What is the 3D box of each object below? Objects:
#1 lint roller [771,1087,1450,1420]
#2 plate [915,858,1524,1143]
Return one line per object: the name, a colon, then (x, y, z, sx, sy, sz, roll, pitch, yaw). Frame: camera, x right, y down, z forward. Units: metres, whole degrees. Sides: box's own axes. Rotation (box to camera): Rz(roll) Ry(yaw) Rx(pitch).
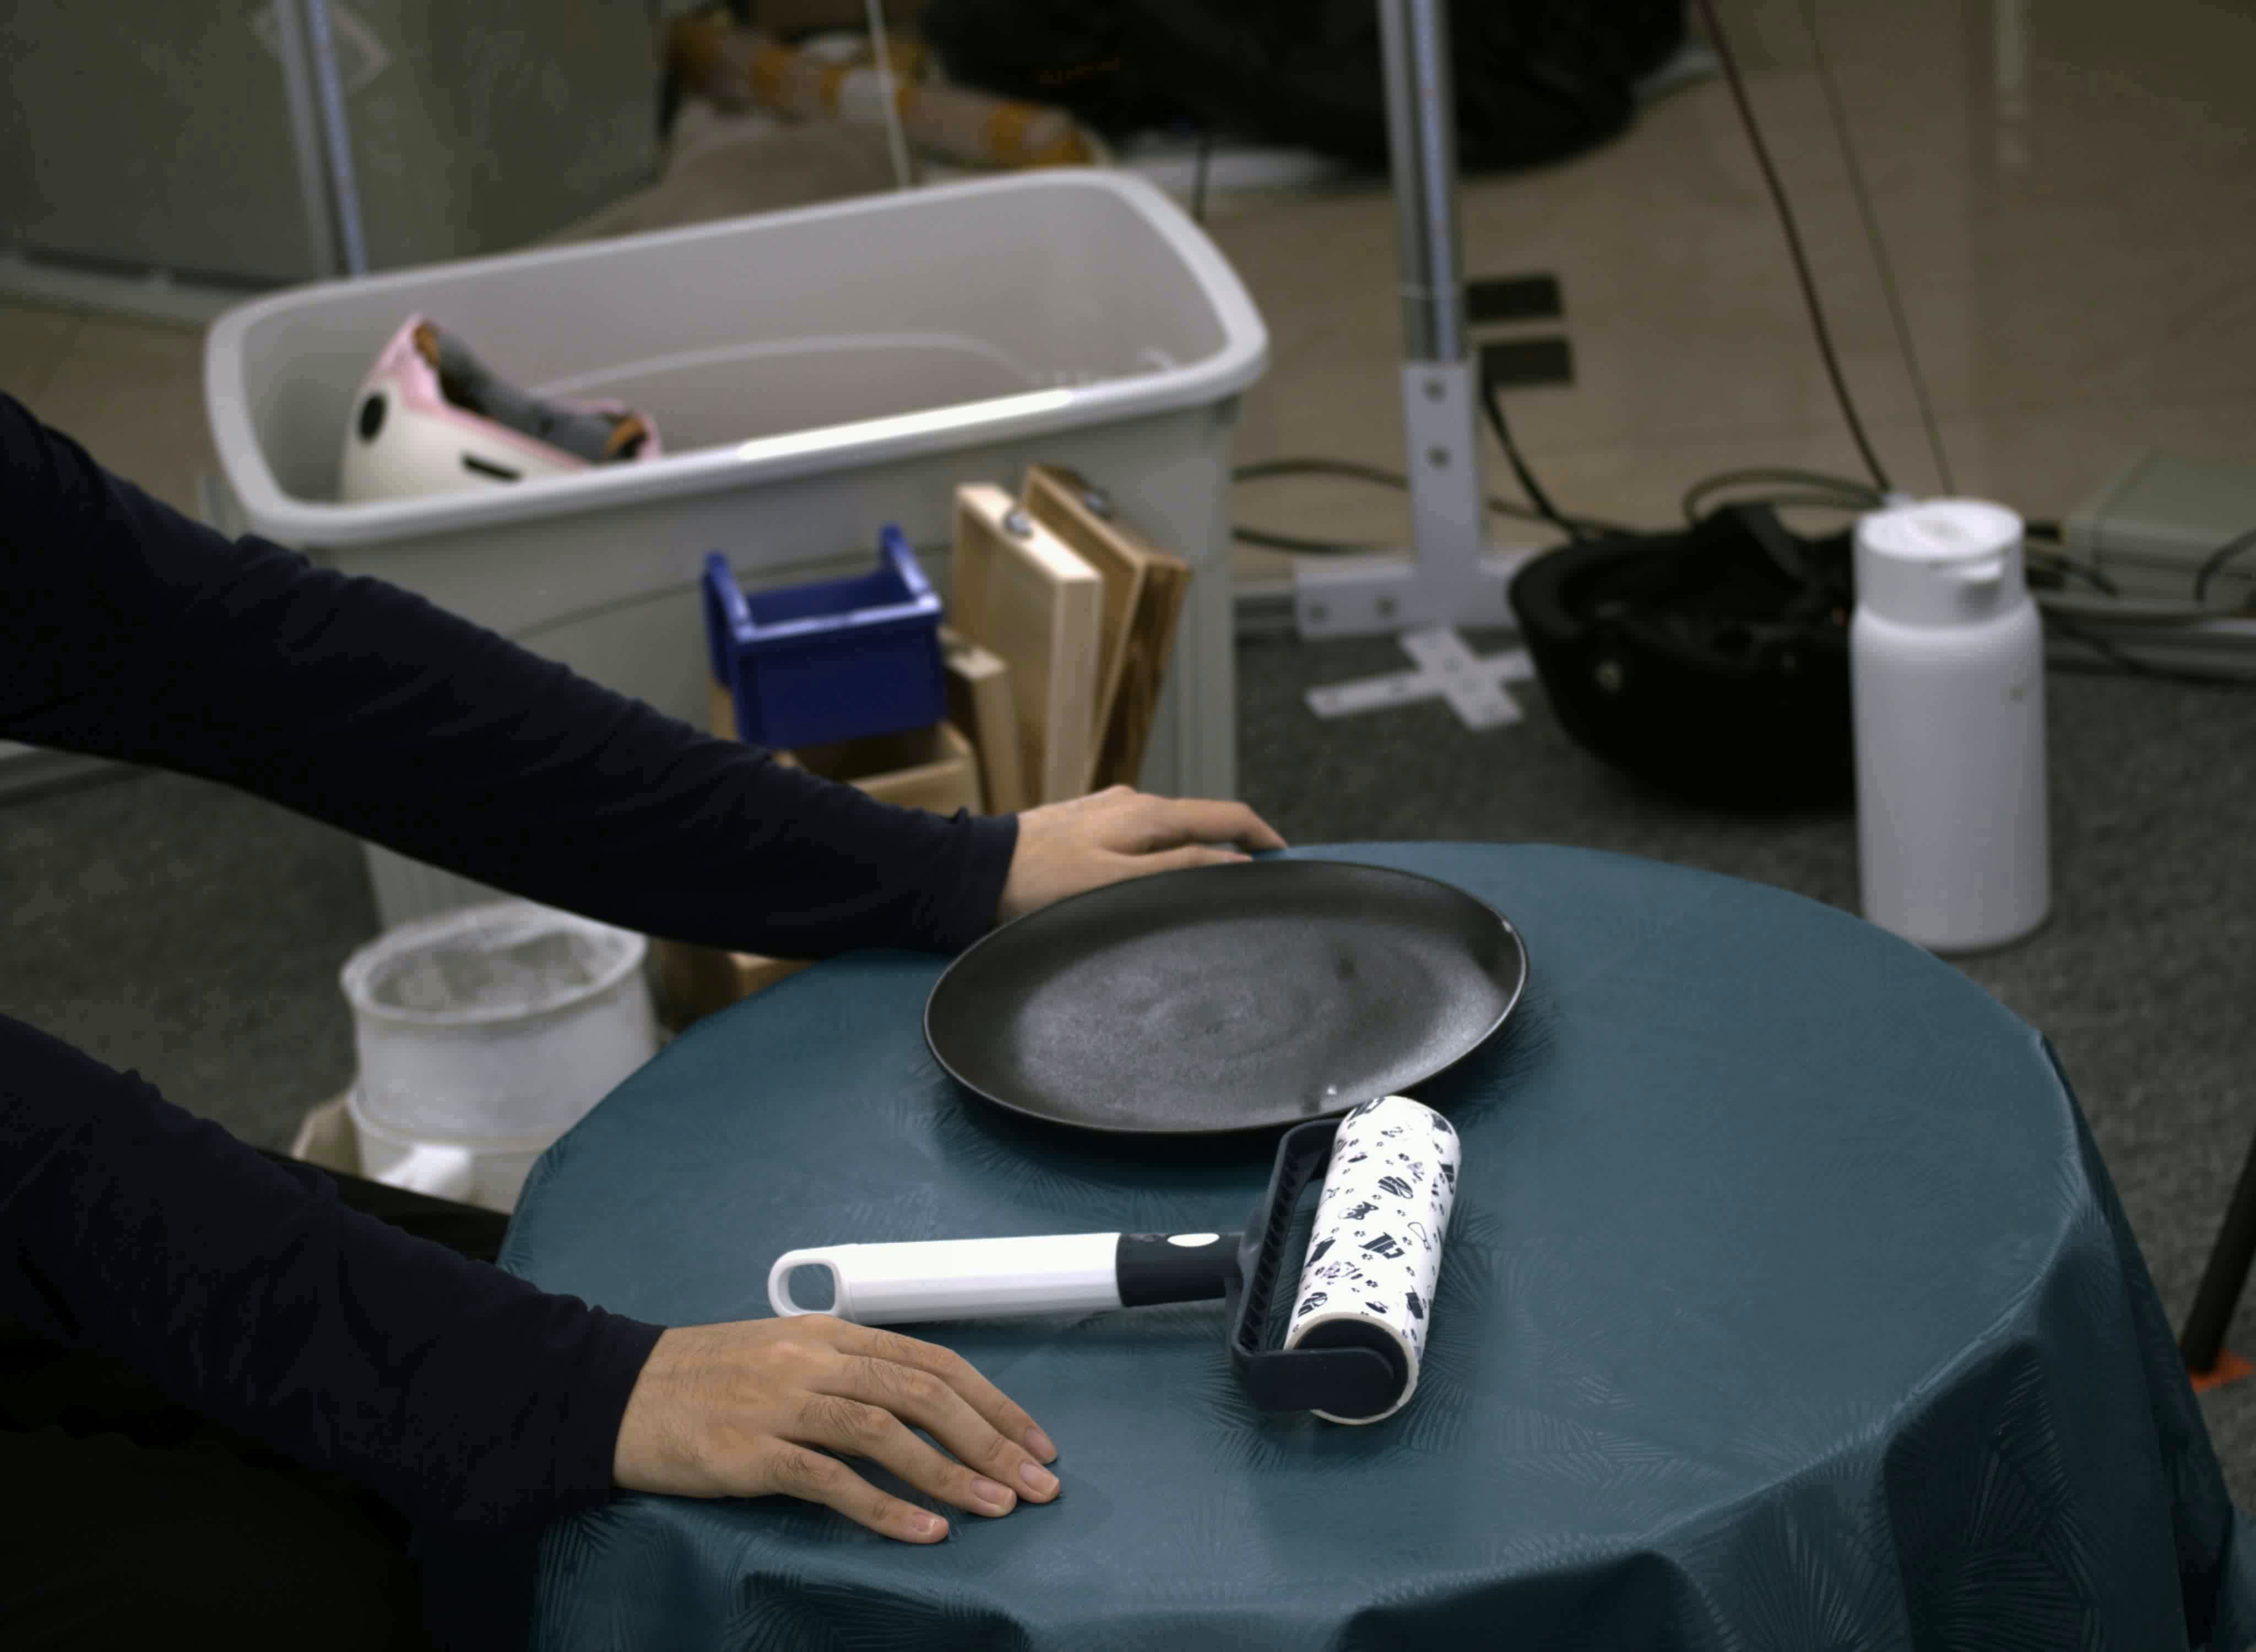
lint roller: (-0.011, 0.162, 2.058, 0.247, 0.051, 0.173, -5, 26, 11)
plate: (0.037, 0.074, 2.256, 0.244, 0.024, 0.241, -5, 25, 3)
